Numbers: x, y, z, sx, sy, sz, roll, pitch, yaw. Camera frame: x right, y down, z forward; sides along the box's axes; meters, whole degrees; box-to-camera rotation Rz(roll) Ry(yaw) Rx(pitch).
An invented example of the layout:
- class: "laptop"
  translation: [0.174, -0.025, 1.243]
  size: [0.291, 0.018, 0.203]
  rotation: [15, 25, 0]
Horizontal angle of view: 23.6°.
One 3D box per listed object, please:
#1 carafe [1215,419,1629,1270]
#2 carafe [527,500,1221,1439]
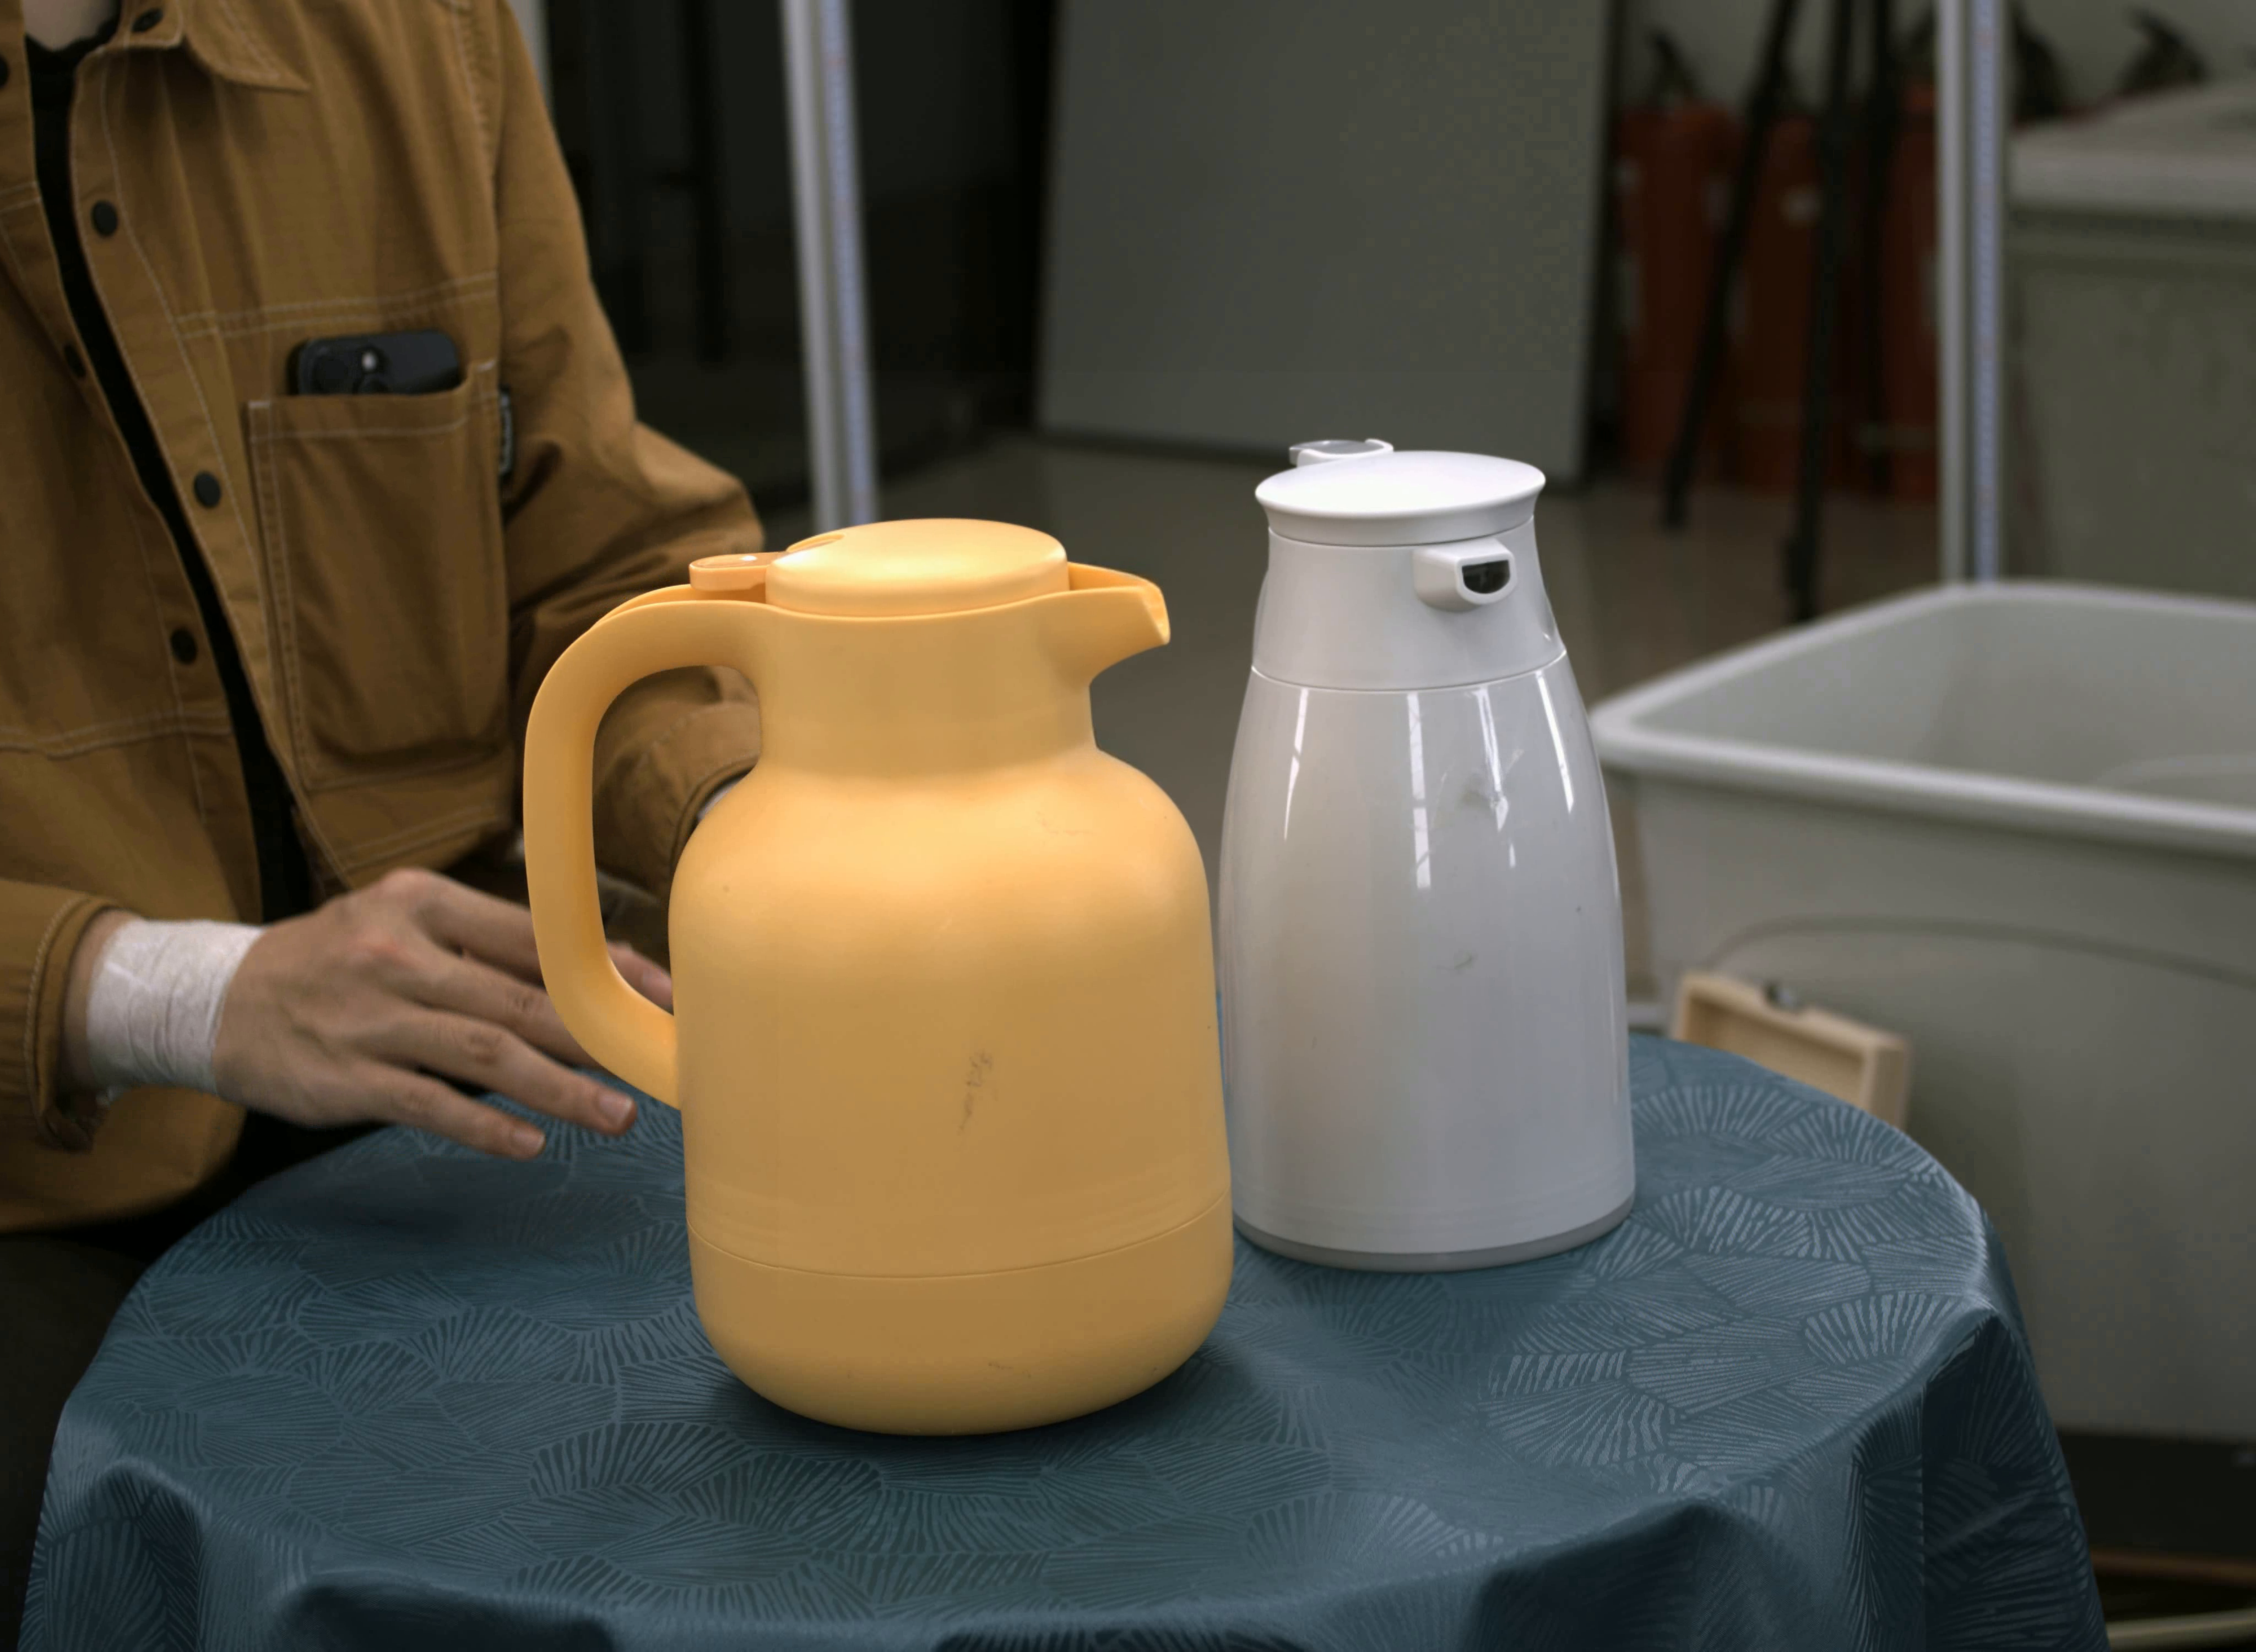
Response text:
- class: "carafe"
  translation: [0.082, -0.002, 1.724]
  size: [0.130, 0.251, 0.169]
  rotation: [-9, 14, -20]
- class: "carafe"
  translation: [-0.074, 0.038, 1.589]
  size: [0.201, 0.263, 0.162]
  rotation: [0, 12, 13]
